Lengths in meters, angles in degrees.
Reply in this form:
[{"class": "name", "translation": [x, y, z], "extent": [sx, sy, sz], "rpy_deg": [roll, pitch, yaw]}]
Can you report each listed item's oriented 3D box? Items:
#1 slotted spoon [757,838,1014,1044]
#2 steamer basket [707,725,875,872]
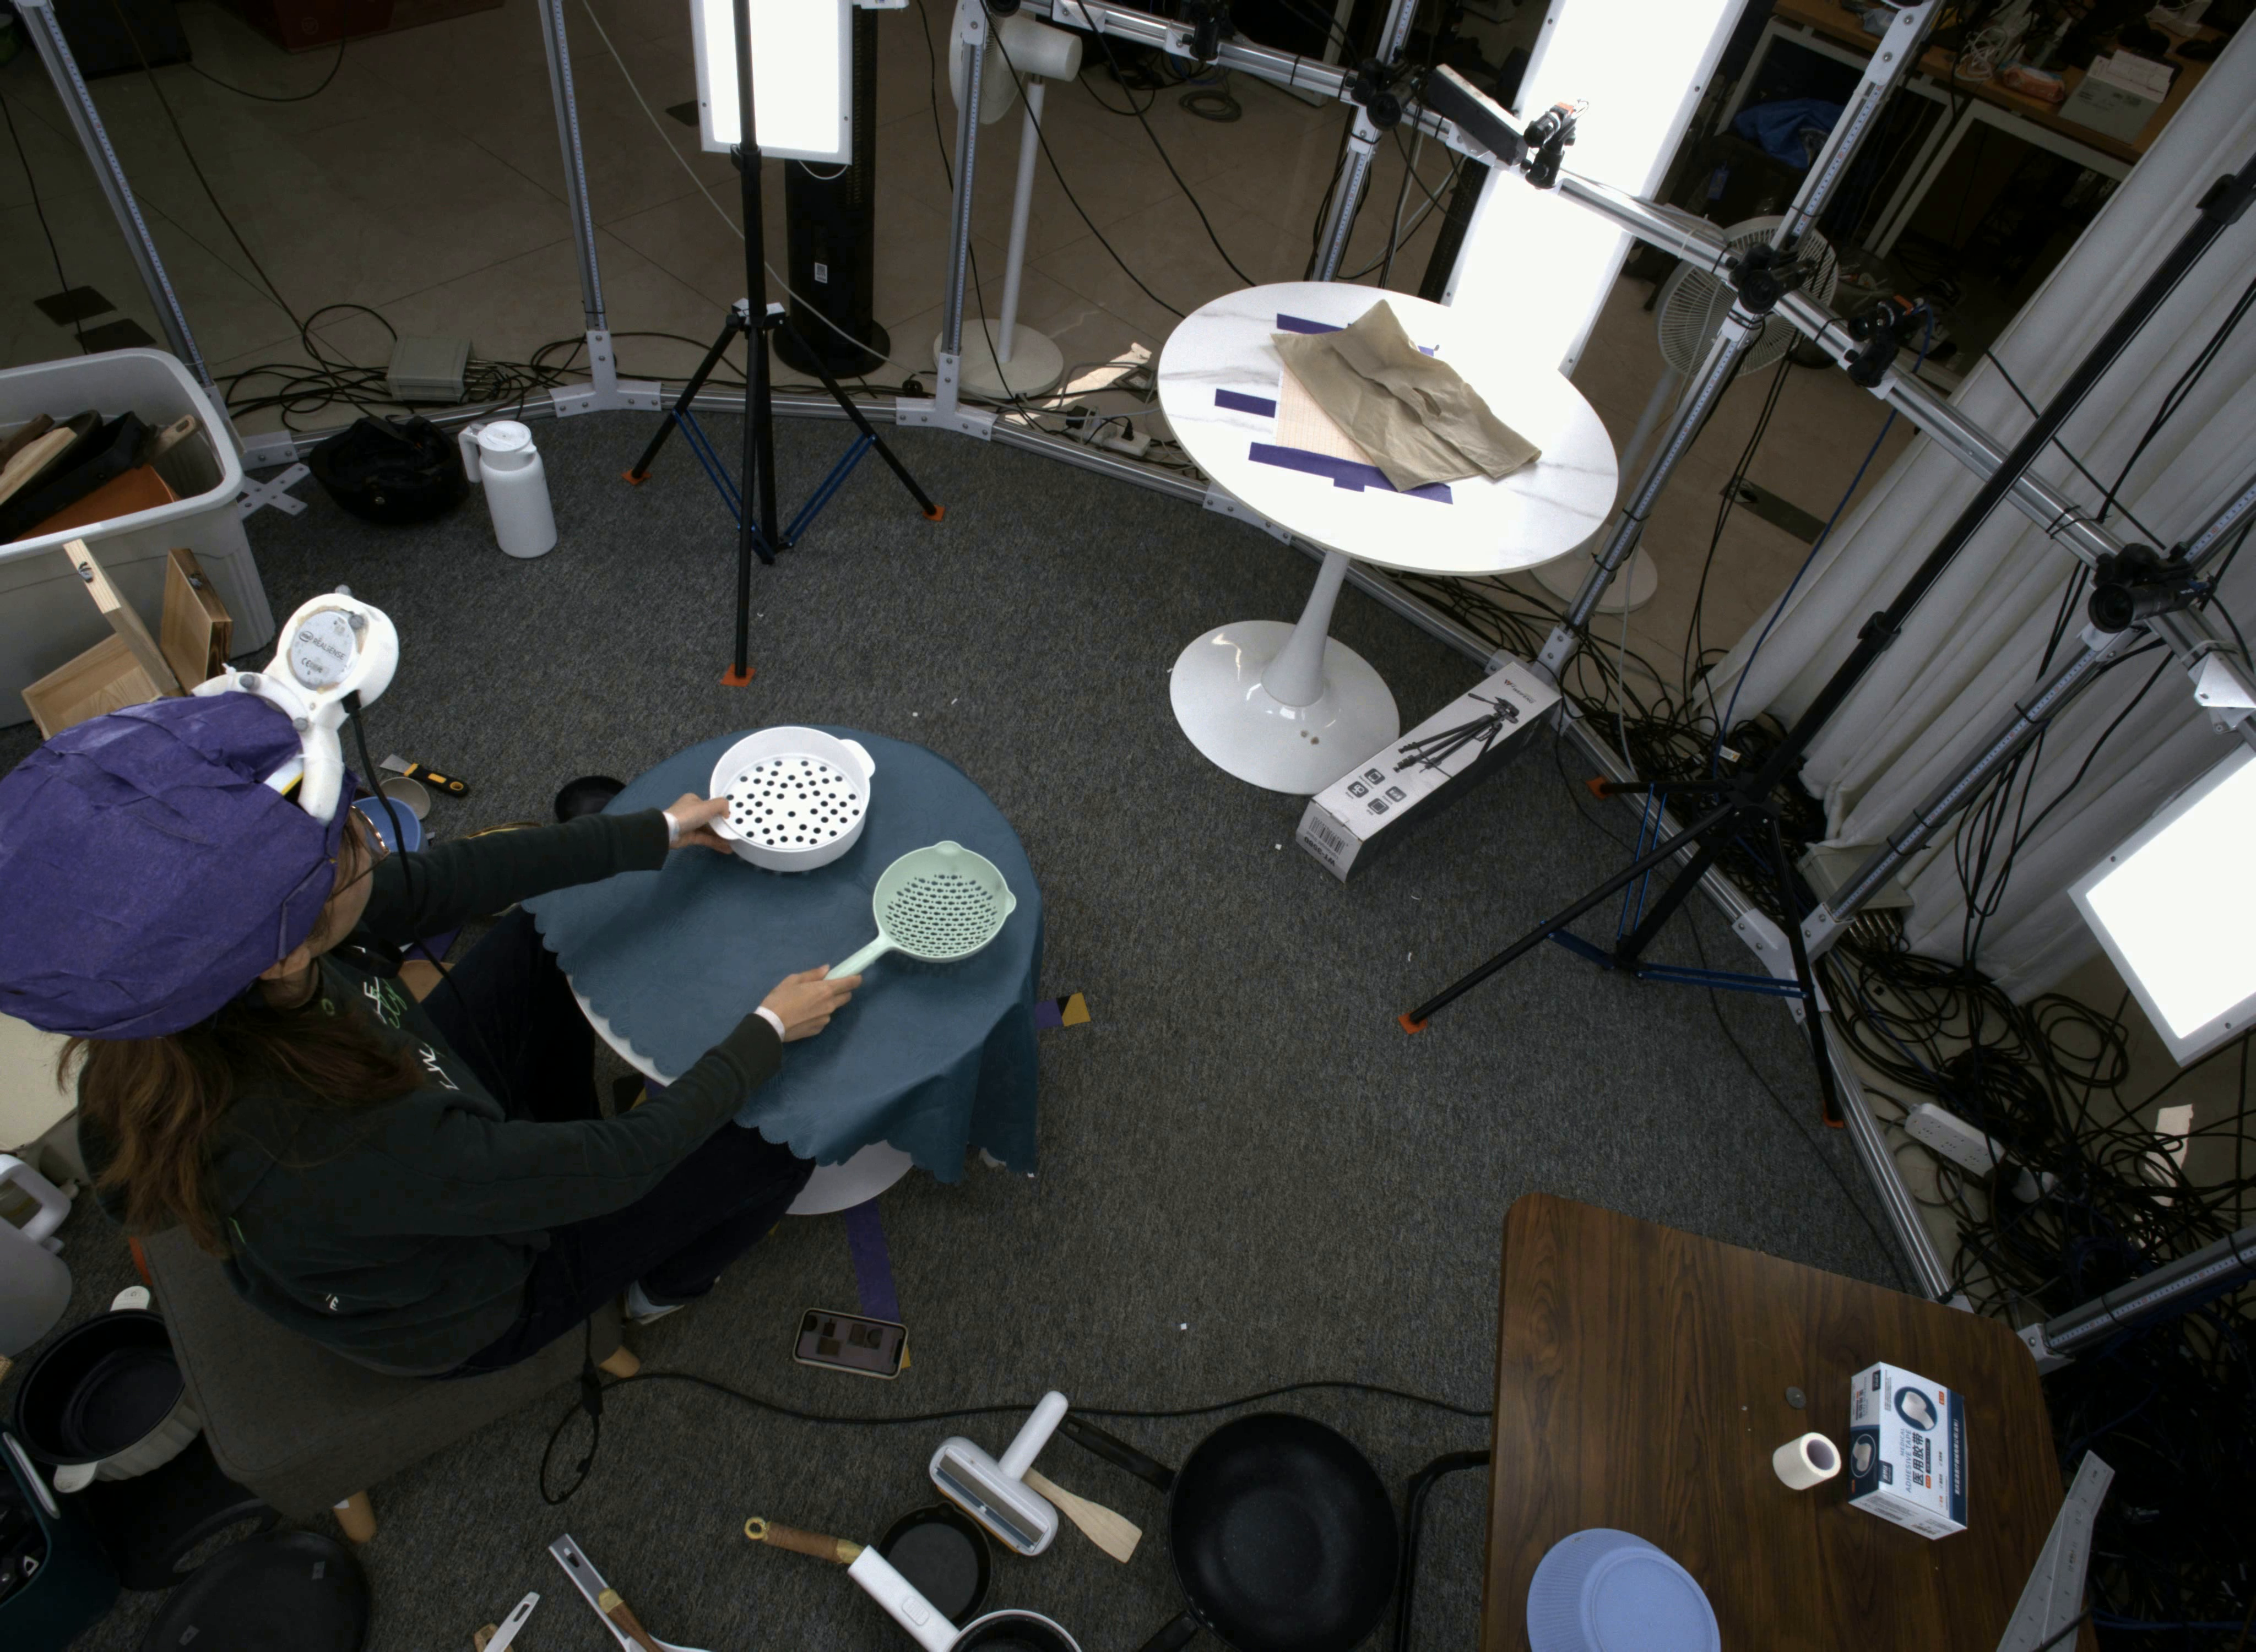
[{"class": "slotted spoon", "translation": [-0.304, 0.148, 1.597], "extent": [0.165, 0.077, 0.360], "rpy_deg": [41, 50, 21]}, {"class": "steamer basket", "translation": [-0.438, -0.036, 1.702], "extent": [0.231, 0.070, 0.197], "rpy_deg": [-31, 68, -30]}]
